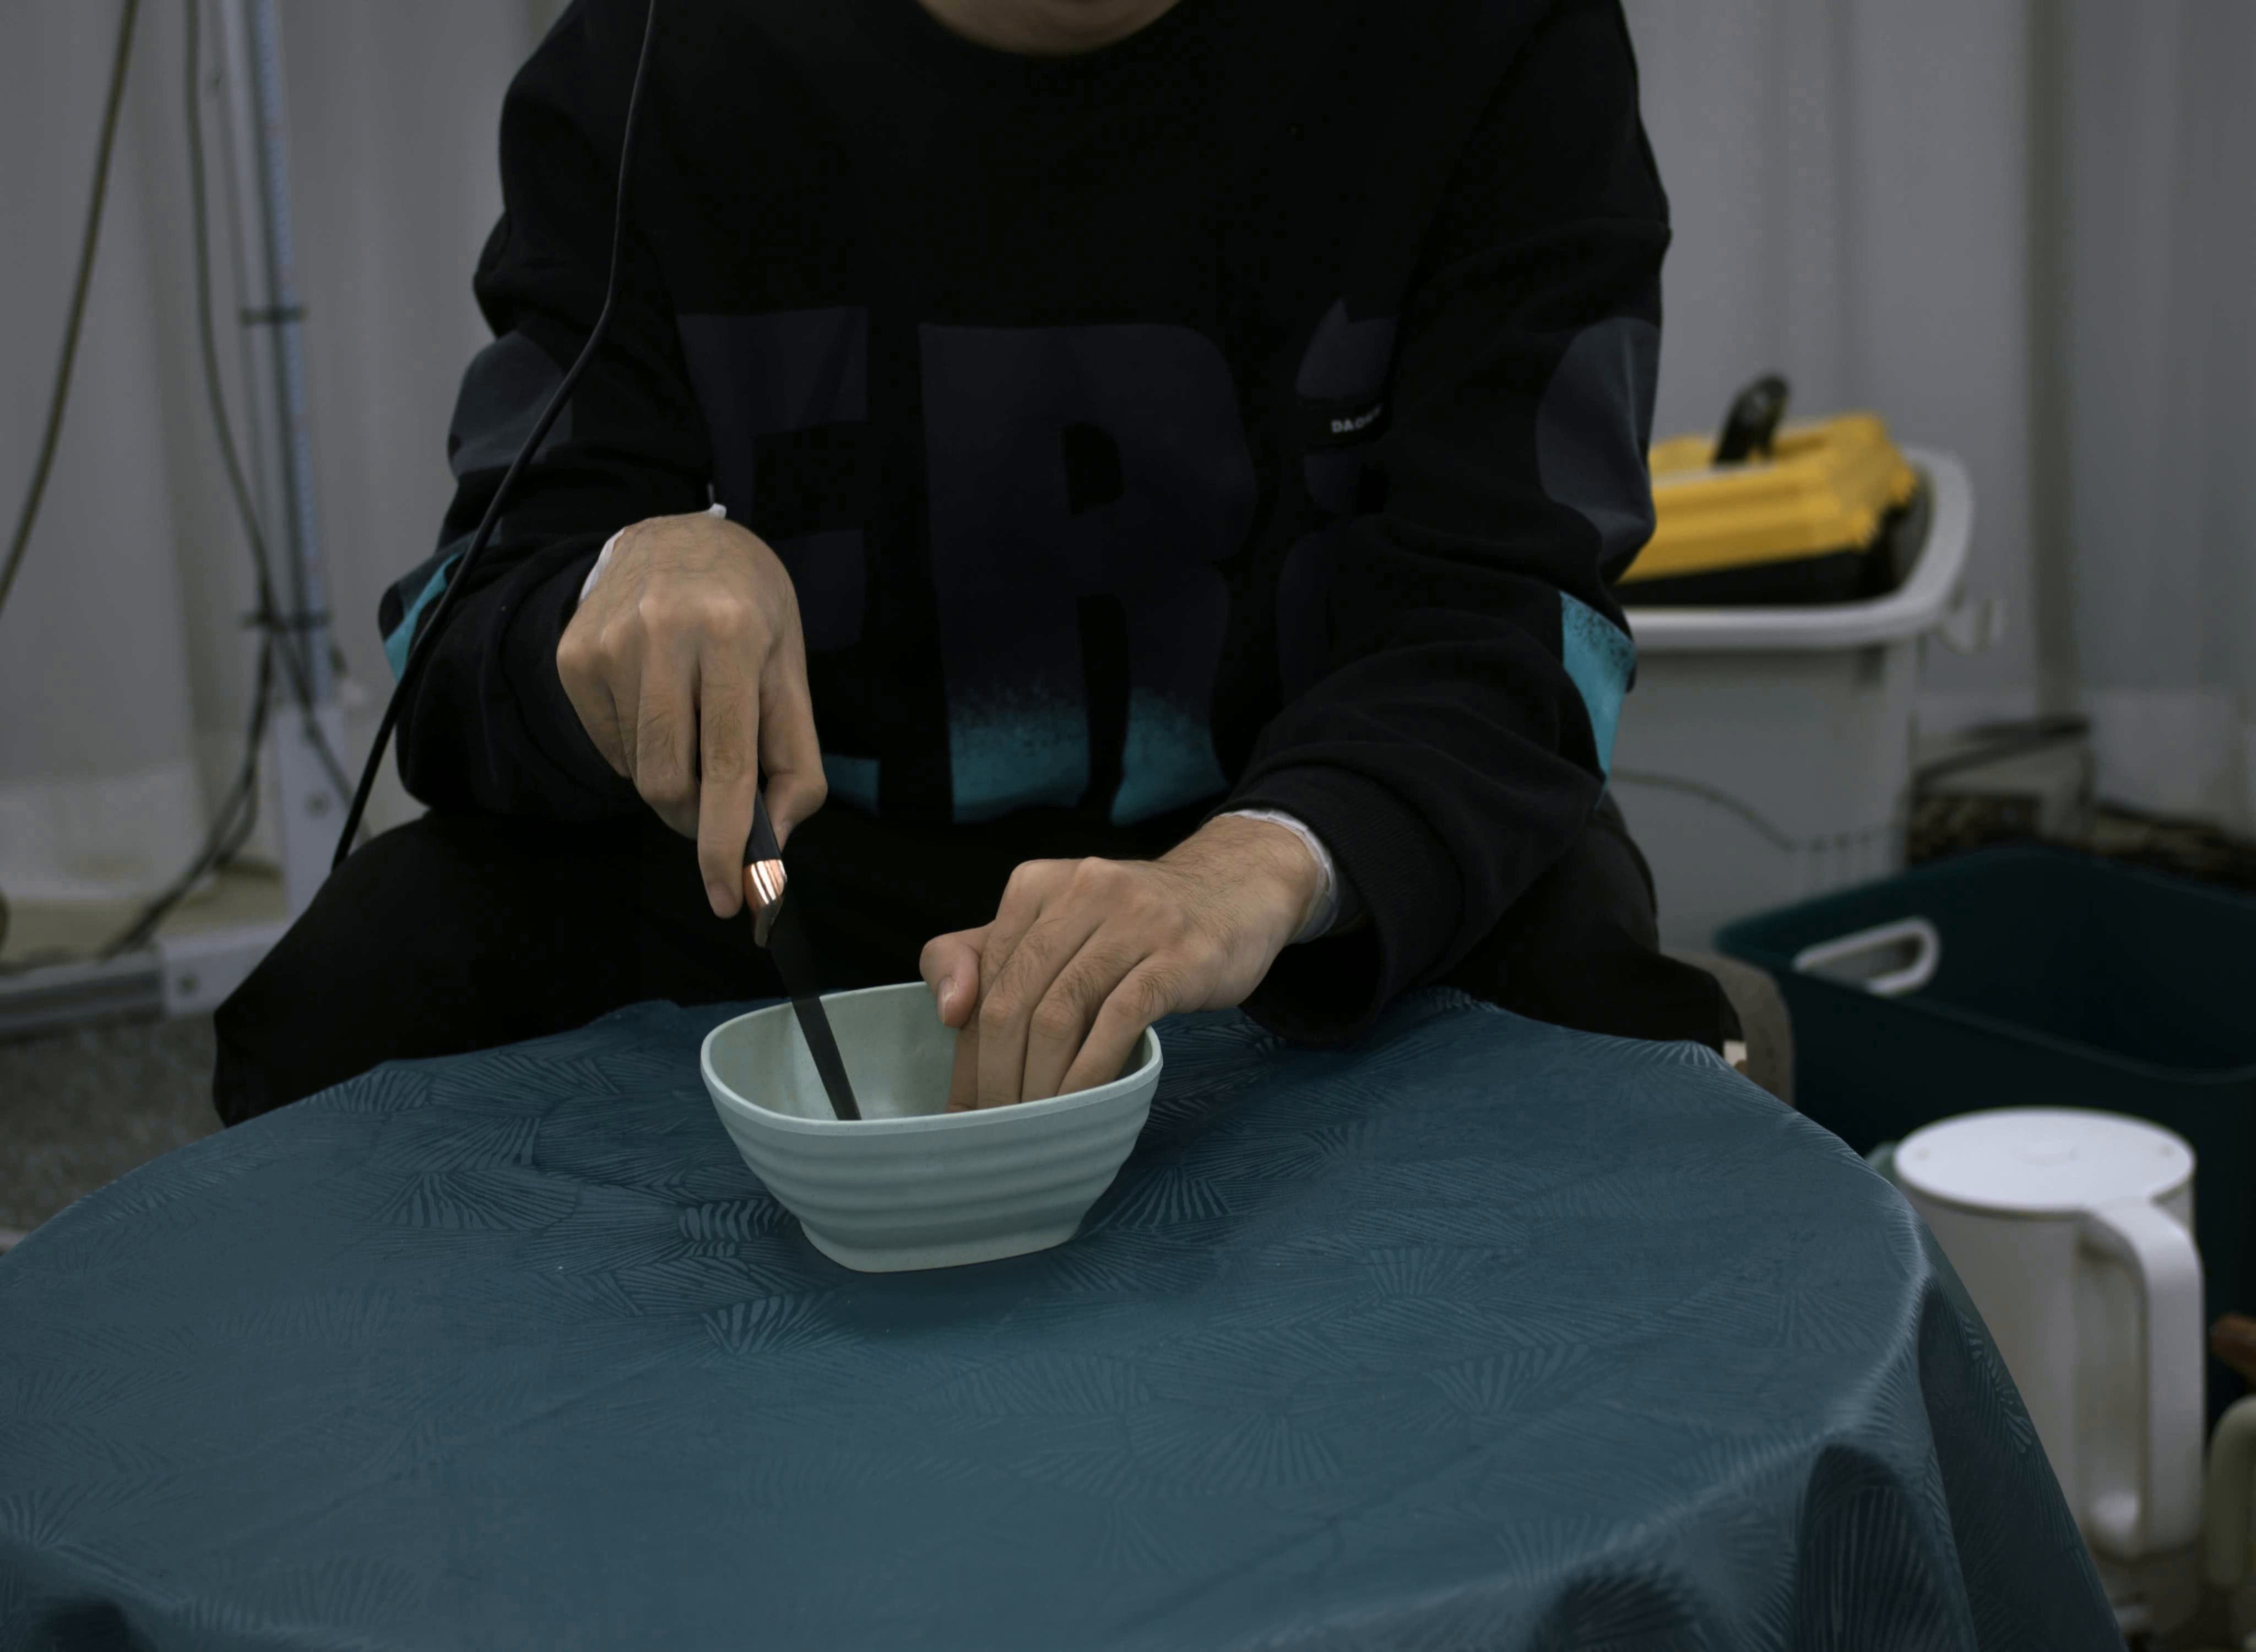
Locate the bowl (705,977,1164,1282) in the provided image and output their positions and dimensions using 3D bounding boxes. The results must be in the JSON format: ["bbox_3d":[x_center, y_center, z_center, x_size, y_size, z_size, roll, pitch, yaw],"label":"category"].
[{"bbox_3d":[-0.058,0.097,1.688,0.151,0.058,0.152,-4,15,1],"label":"bowl"}]

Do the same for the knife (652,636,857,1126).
[{"bbox_3d":[-0.112,0.034,1.736,0.017,0.026,0.229,-2,55,-32],"label":"knife"}]
